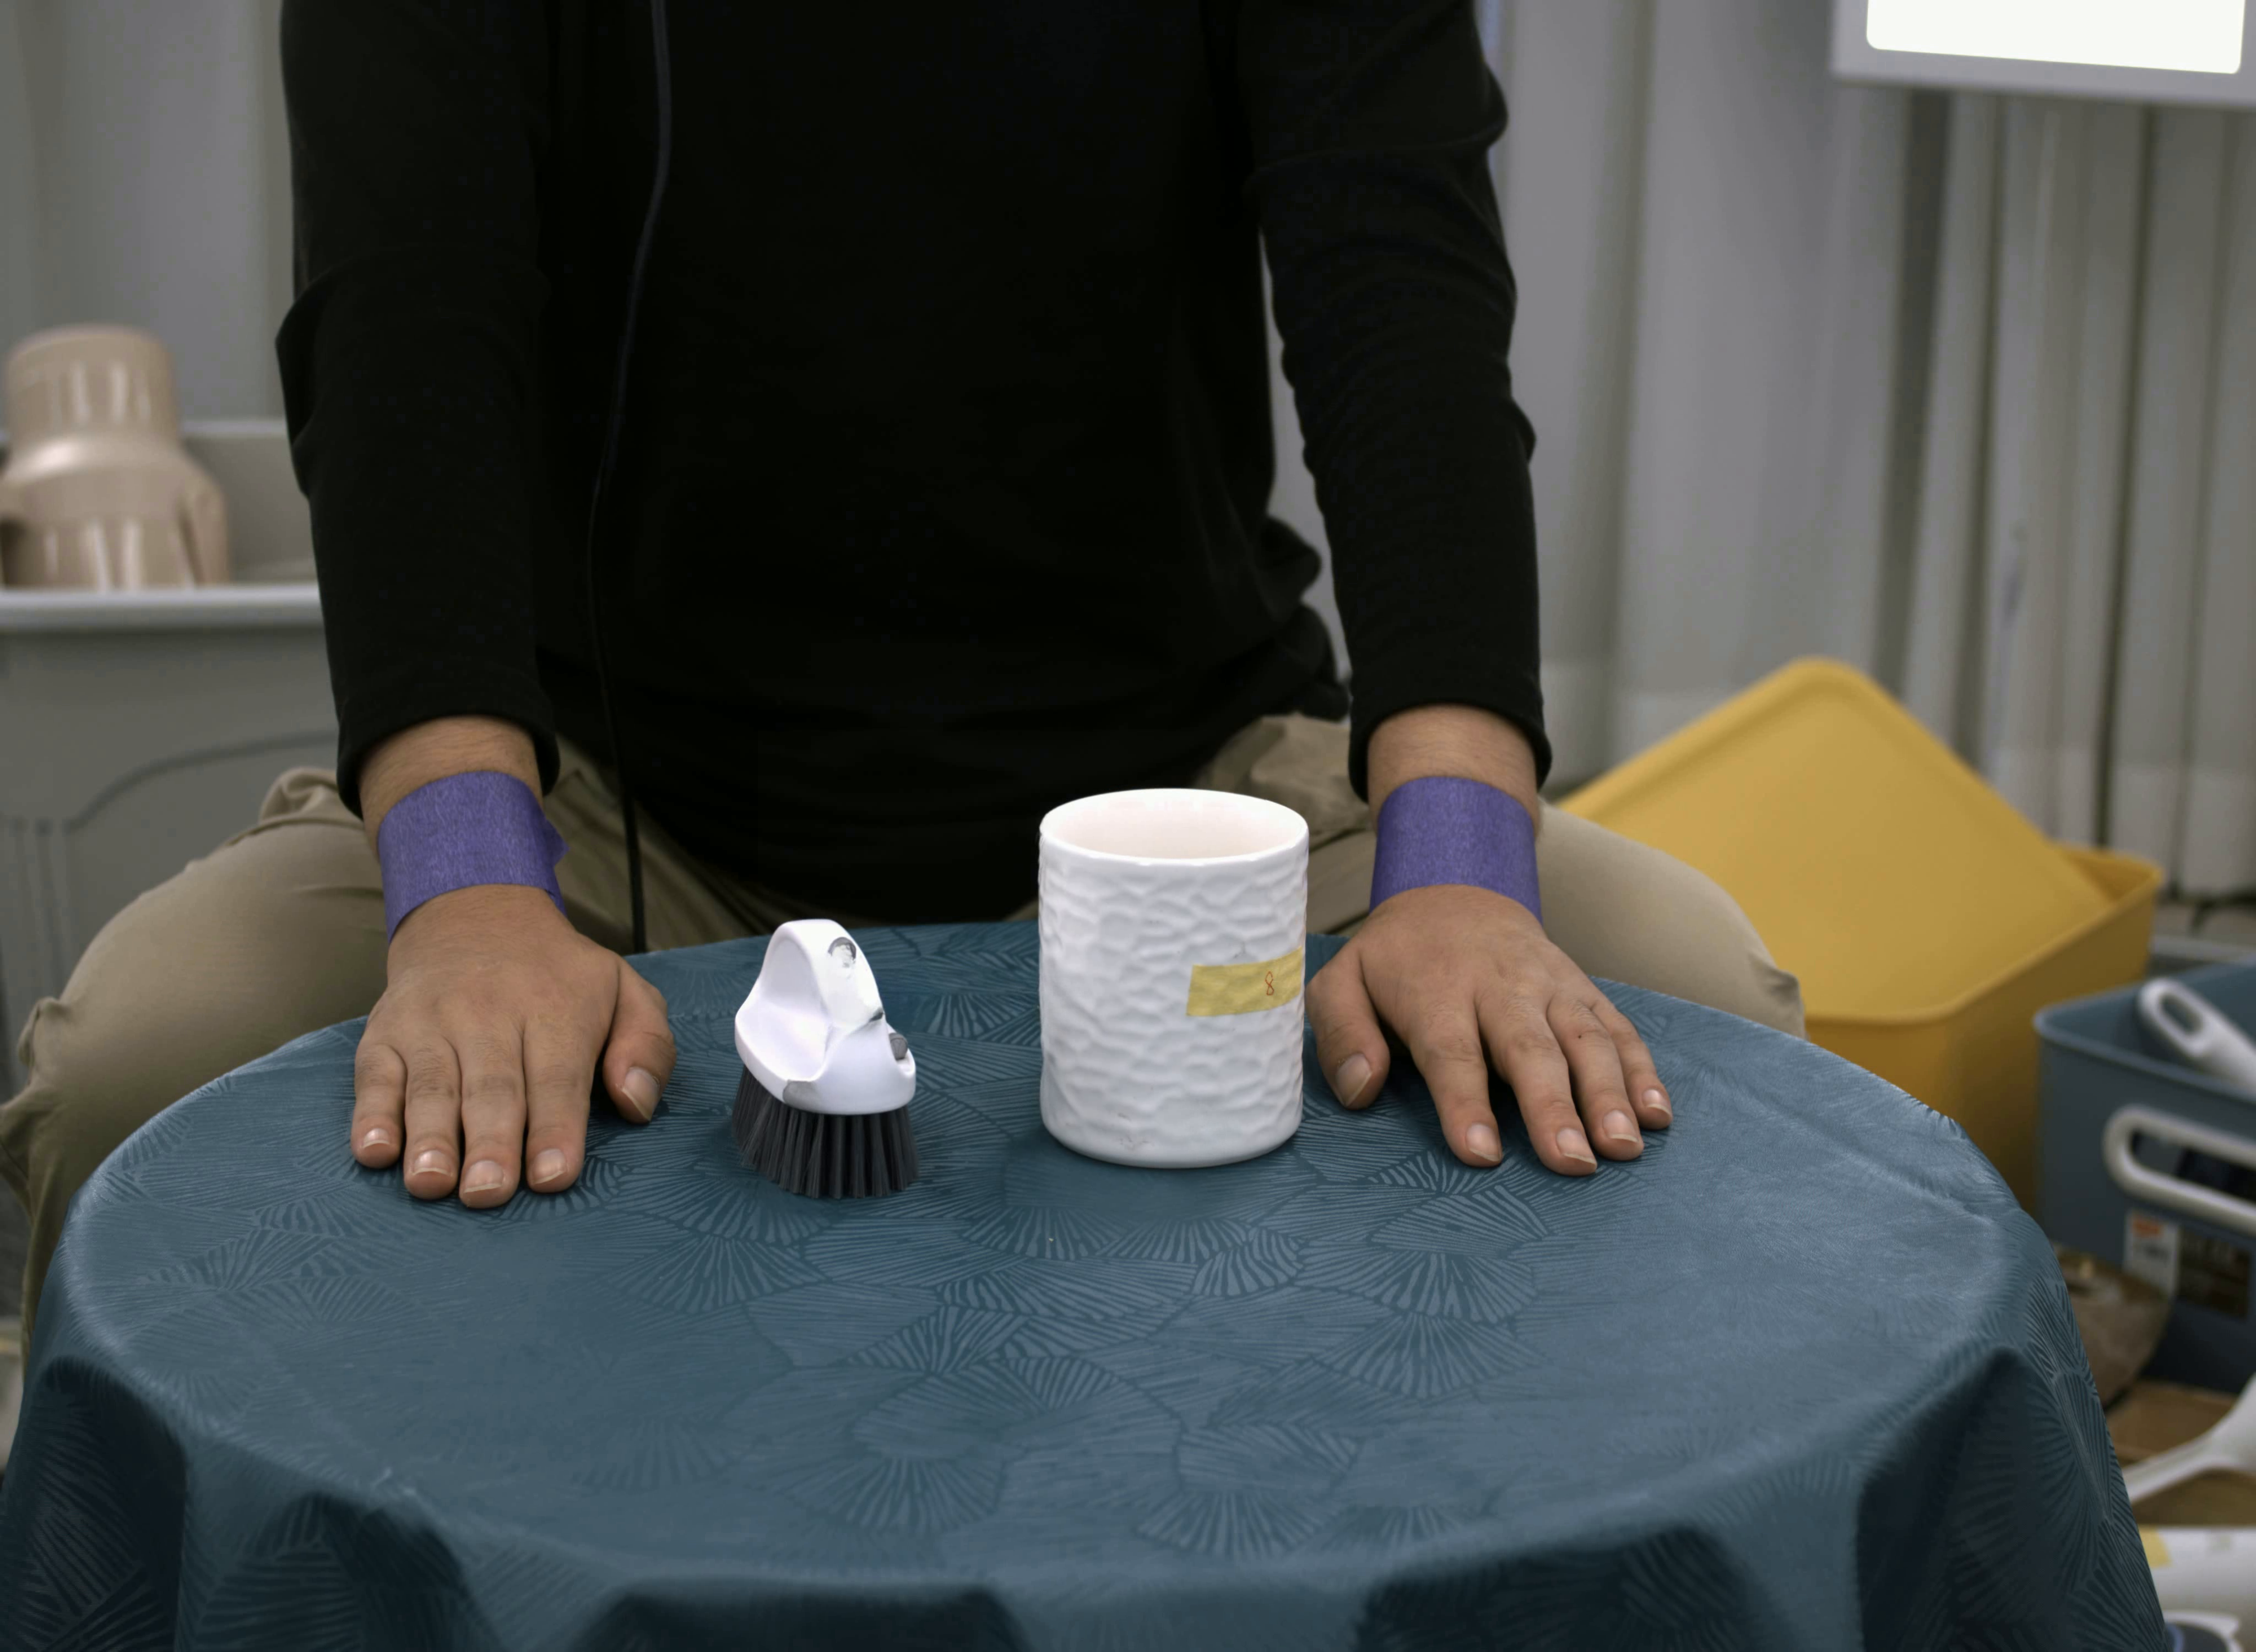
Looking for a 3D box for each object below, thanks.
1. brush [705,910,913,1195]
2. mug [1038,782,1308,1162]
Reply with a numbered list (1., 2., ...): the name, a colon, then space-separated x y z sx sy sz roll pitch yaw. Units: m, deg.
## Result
1. brush: -0.099 0.065 1.647 0.050 0.073 0.098 -2 20 -25
2. mug: 0.009 0.042 1.678 0.085 0.103 0.117 -5 17 -18
